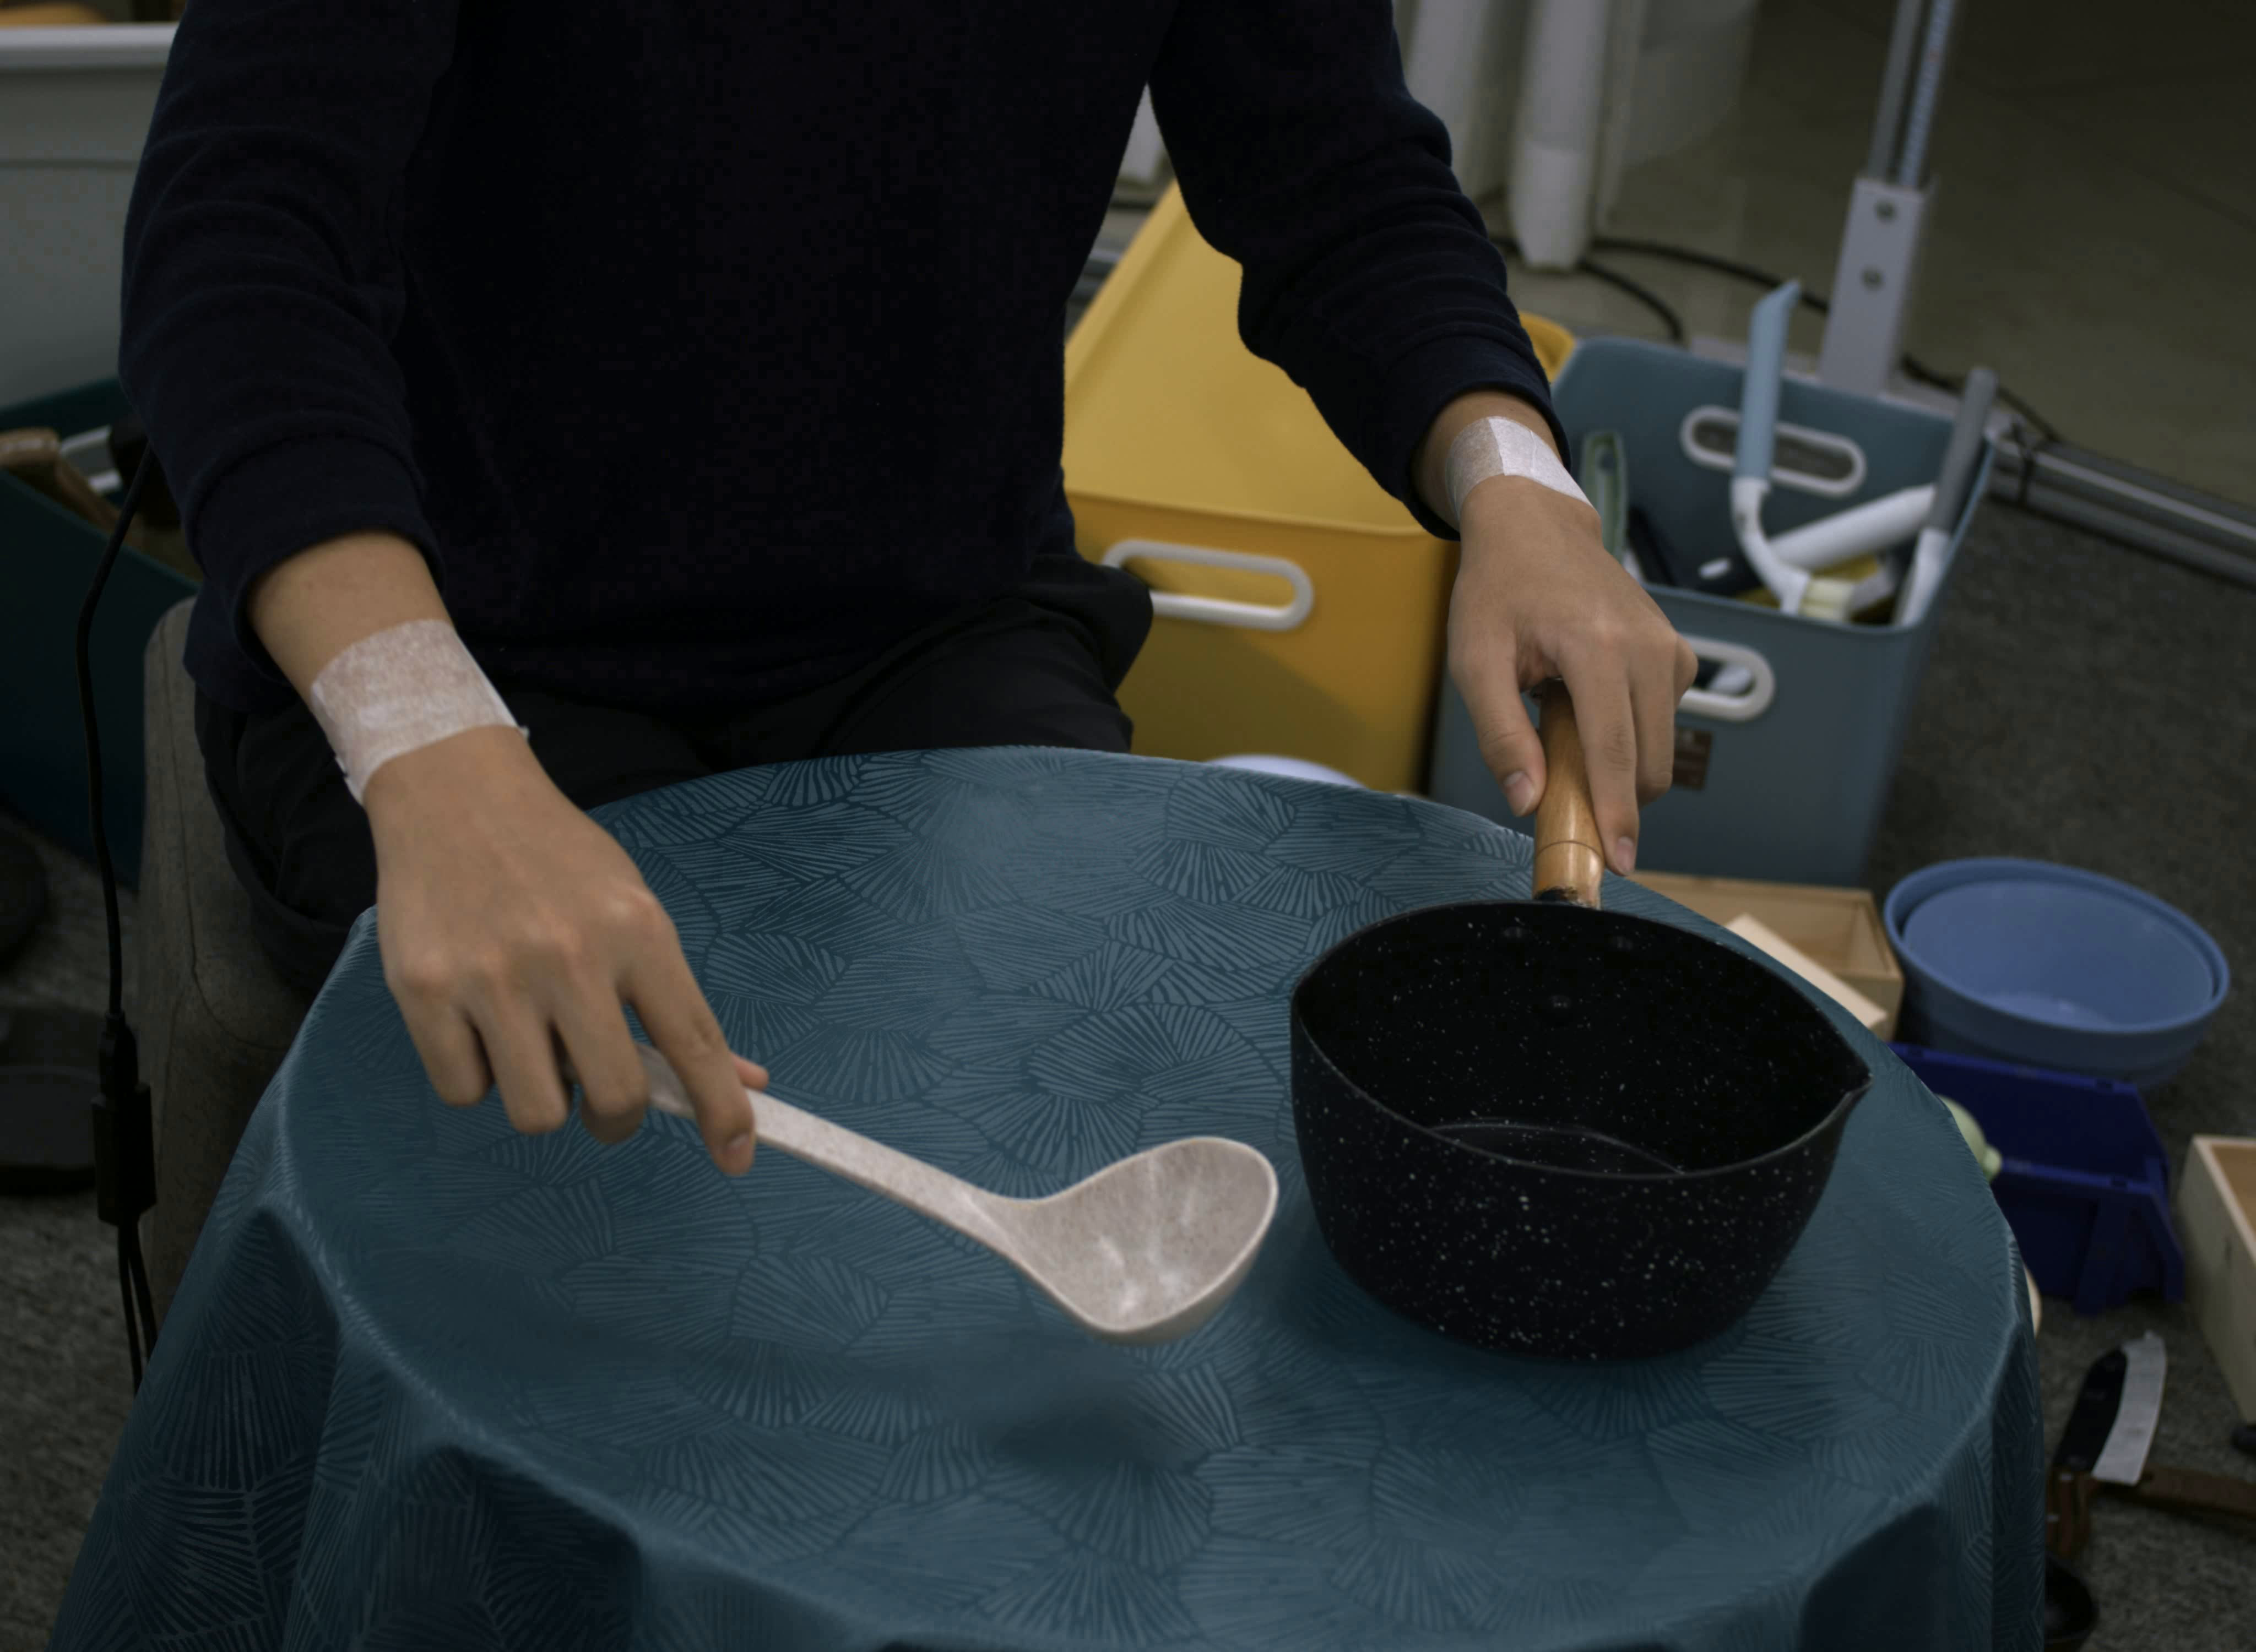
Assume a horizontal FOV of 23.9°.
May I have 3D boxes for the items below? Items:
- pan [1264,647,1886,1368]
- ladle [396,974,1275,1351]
[{"bbox_3d":[0.149,0.058,1.845,0.207,0.108,0.345,6,28,0],"label":"pan"},{"bbox_3d":[-0.088,0.084,1.637,0.273,0.069,0.090,25,38,-11],"label":"ladle"}]
